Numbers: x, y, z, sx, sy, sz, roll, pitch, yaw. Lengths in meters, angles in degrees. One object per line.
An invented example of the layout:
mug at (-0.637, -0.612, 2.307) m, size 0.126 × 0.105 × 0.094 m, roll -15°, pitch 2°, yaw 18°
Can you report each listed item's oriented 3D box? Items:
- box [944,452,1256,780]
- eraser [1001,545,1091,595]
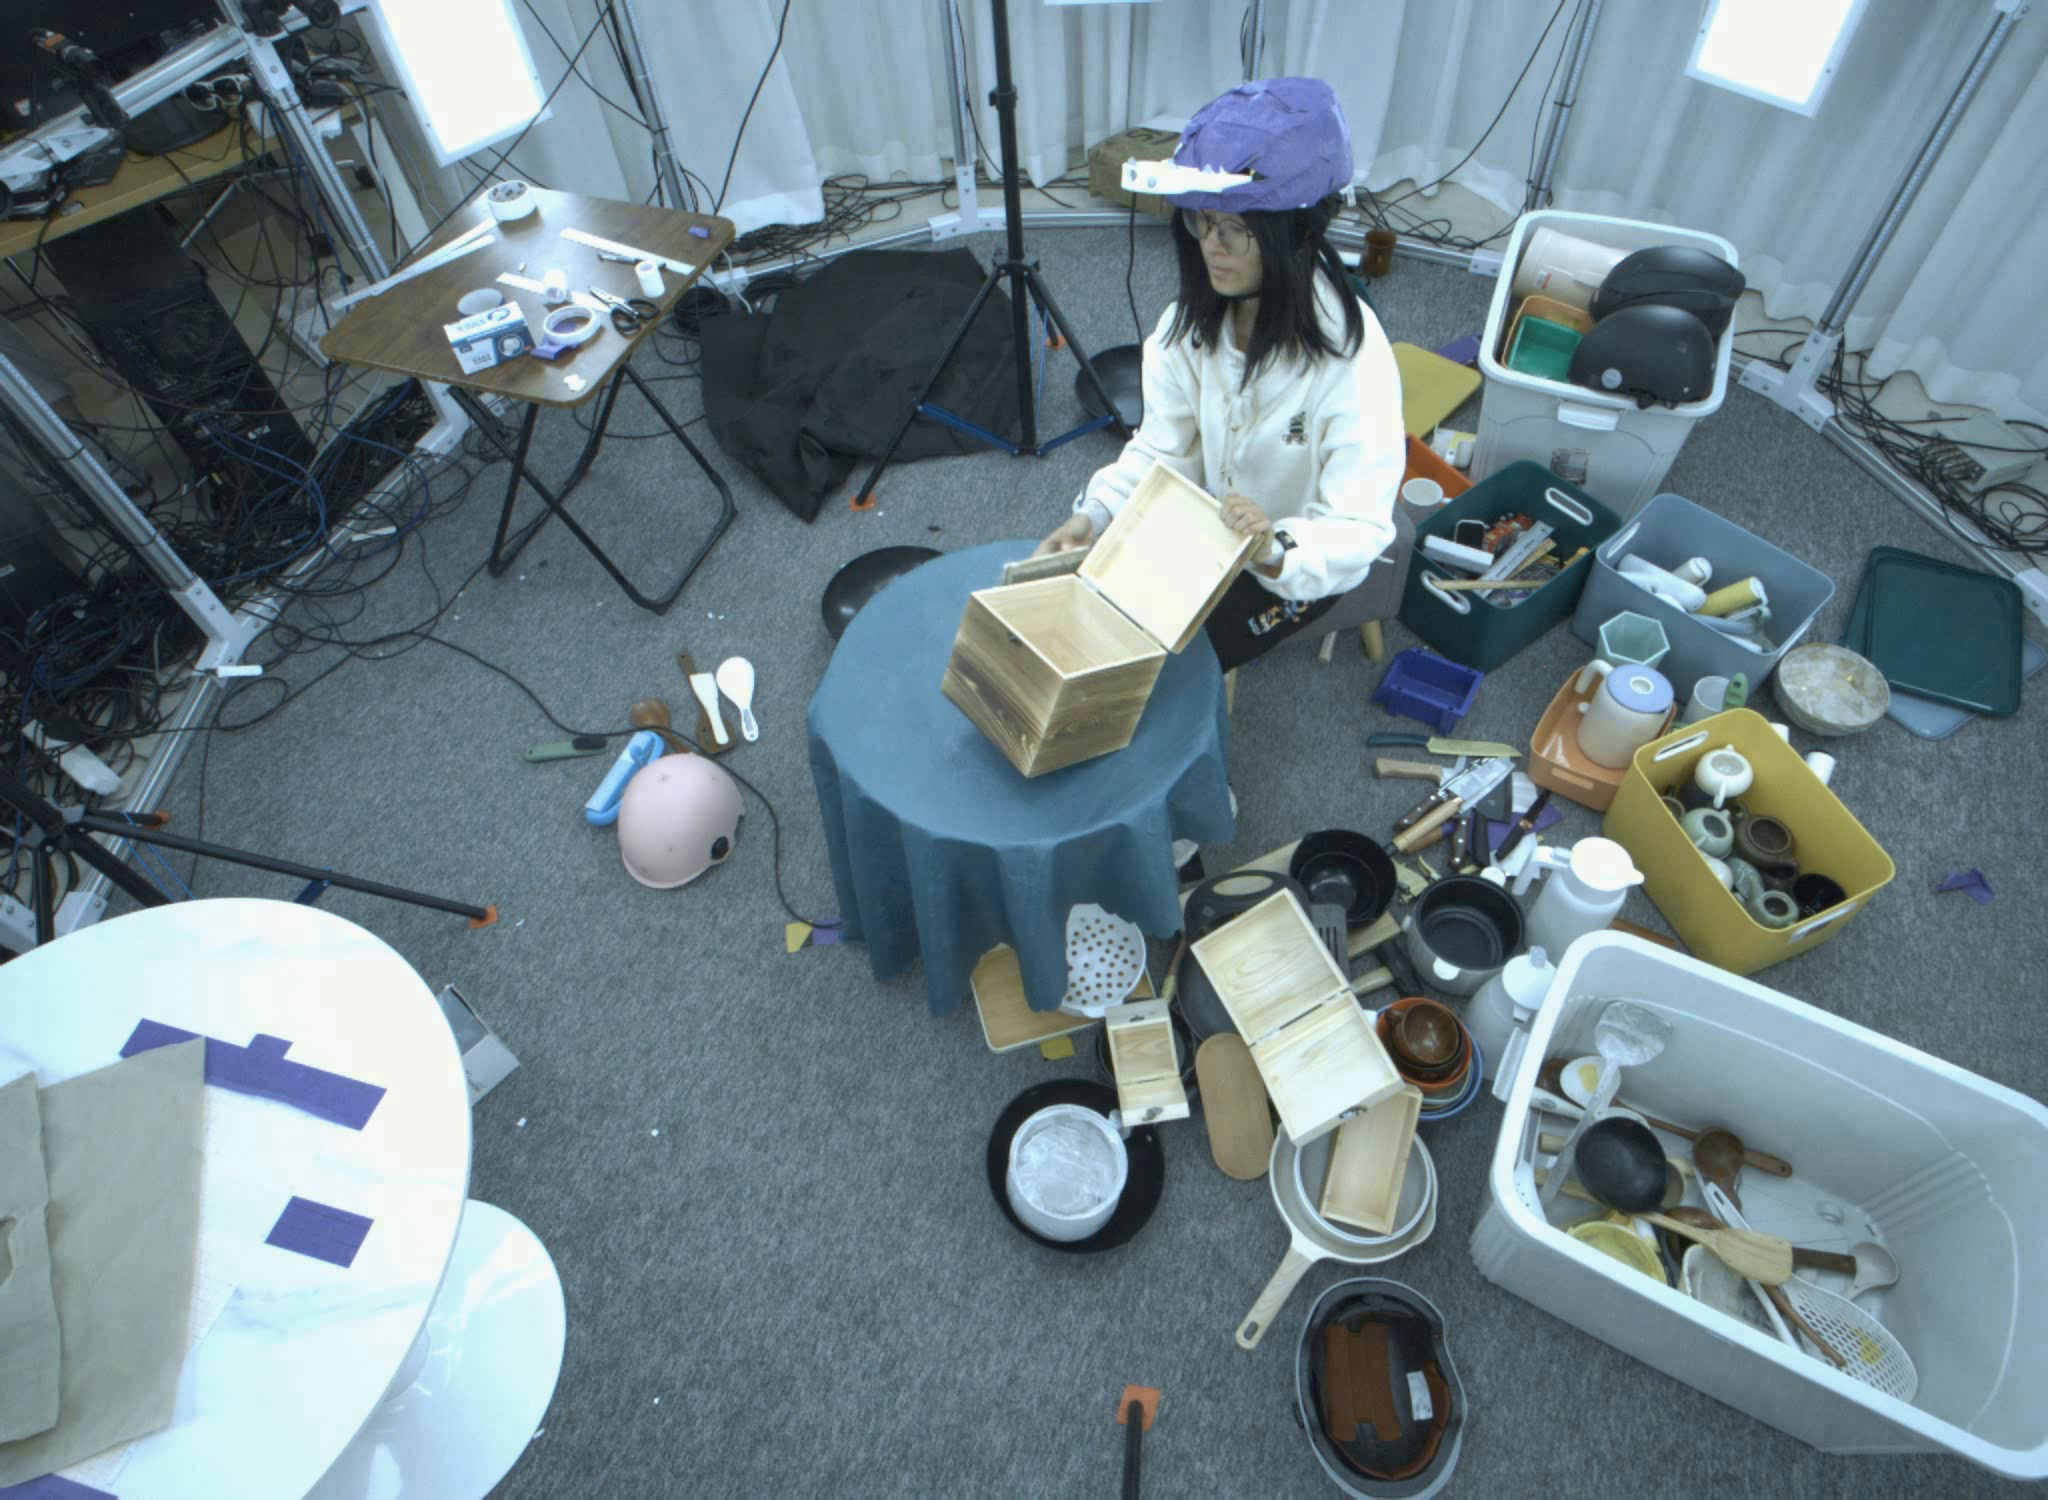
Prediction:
box at (0.100, -0.195, 1.694) m, size 0.327 × 0.376 × 0.205 m, roll -19°, pitch 51°, yaw -41°
eraser at (0.034, -0.258, 1.799) m, size 0.141 × 0.057 × 0.028 m, roll -15°, pitch 47°, yaw -21°
